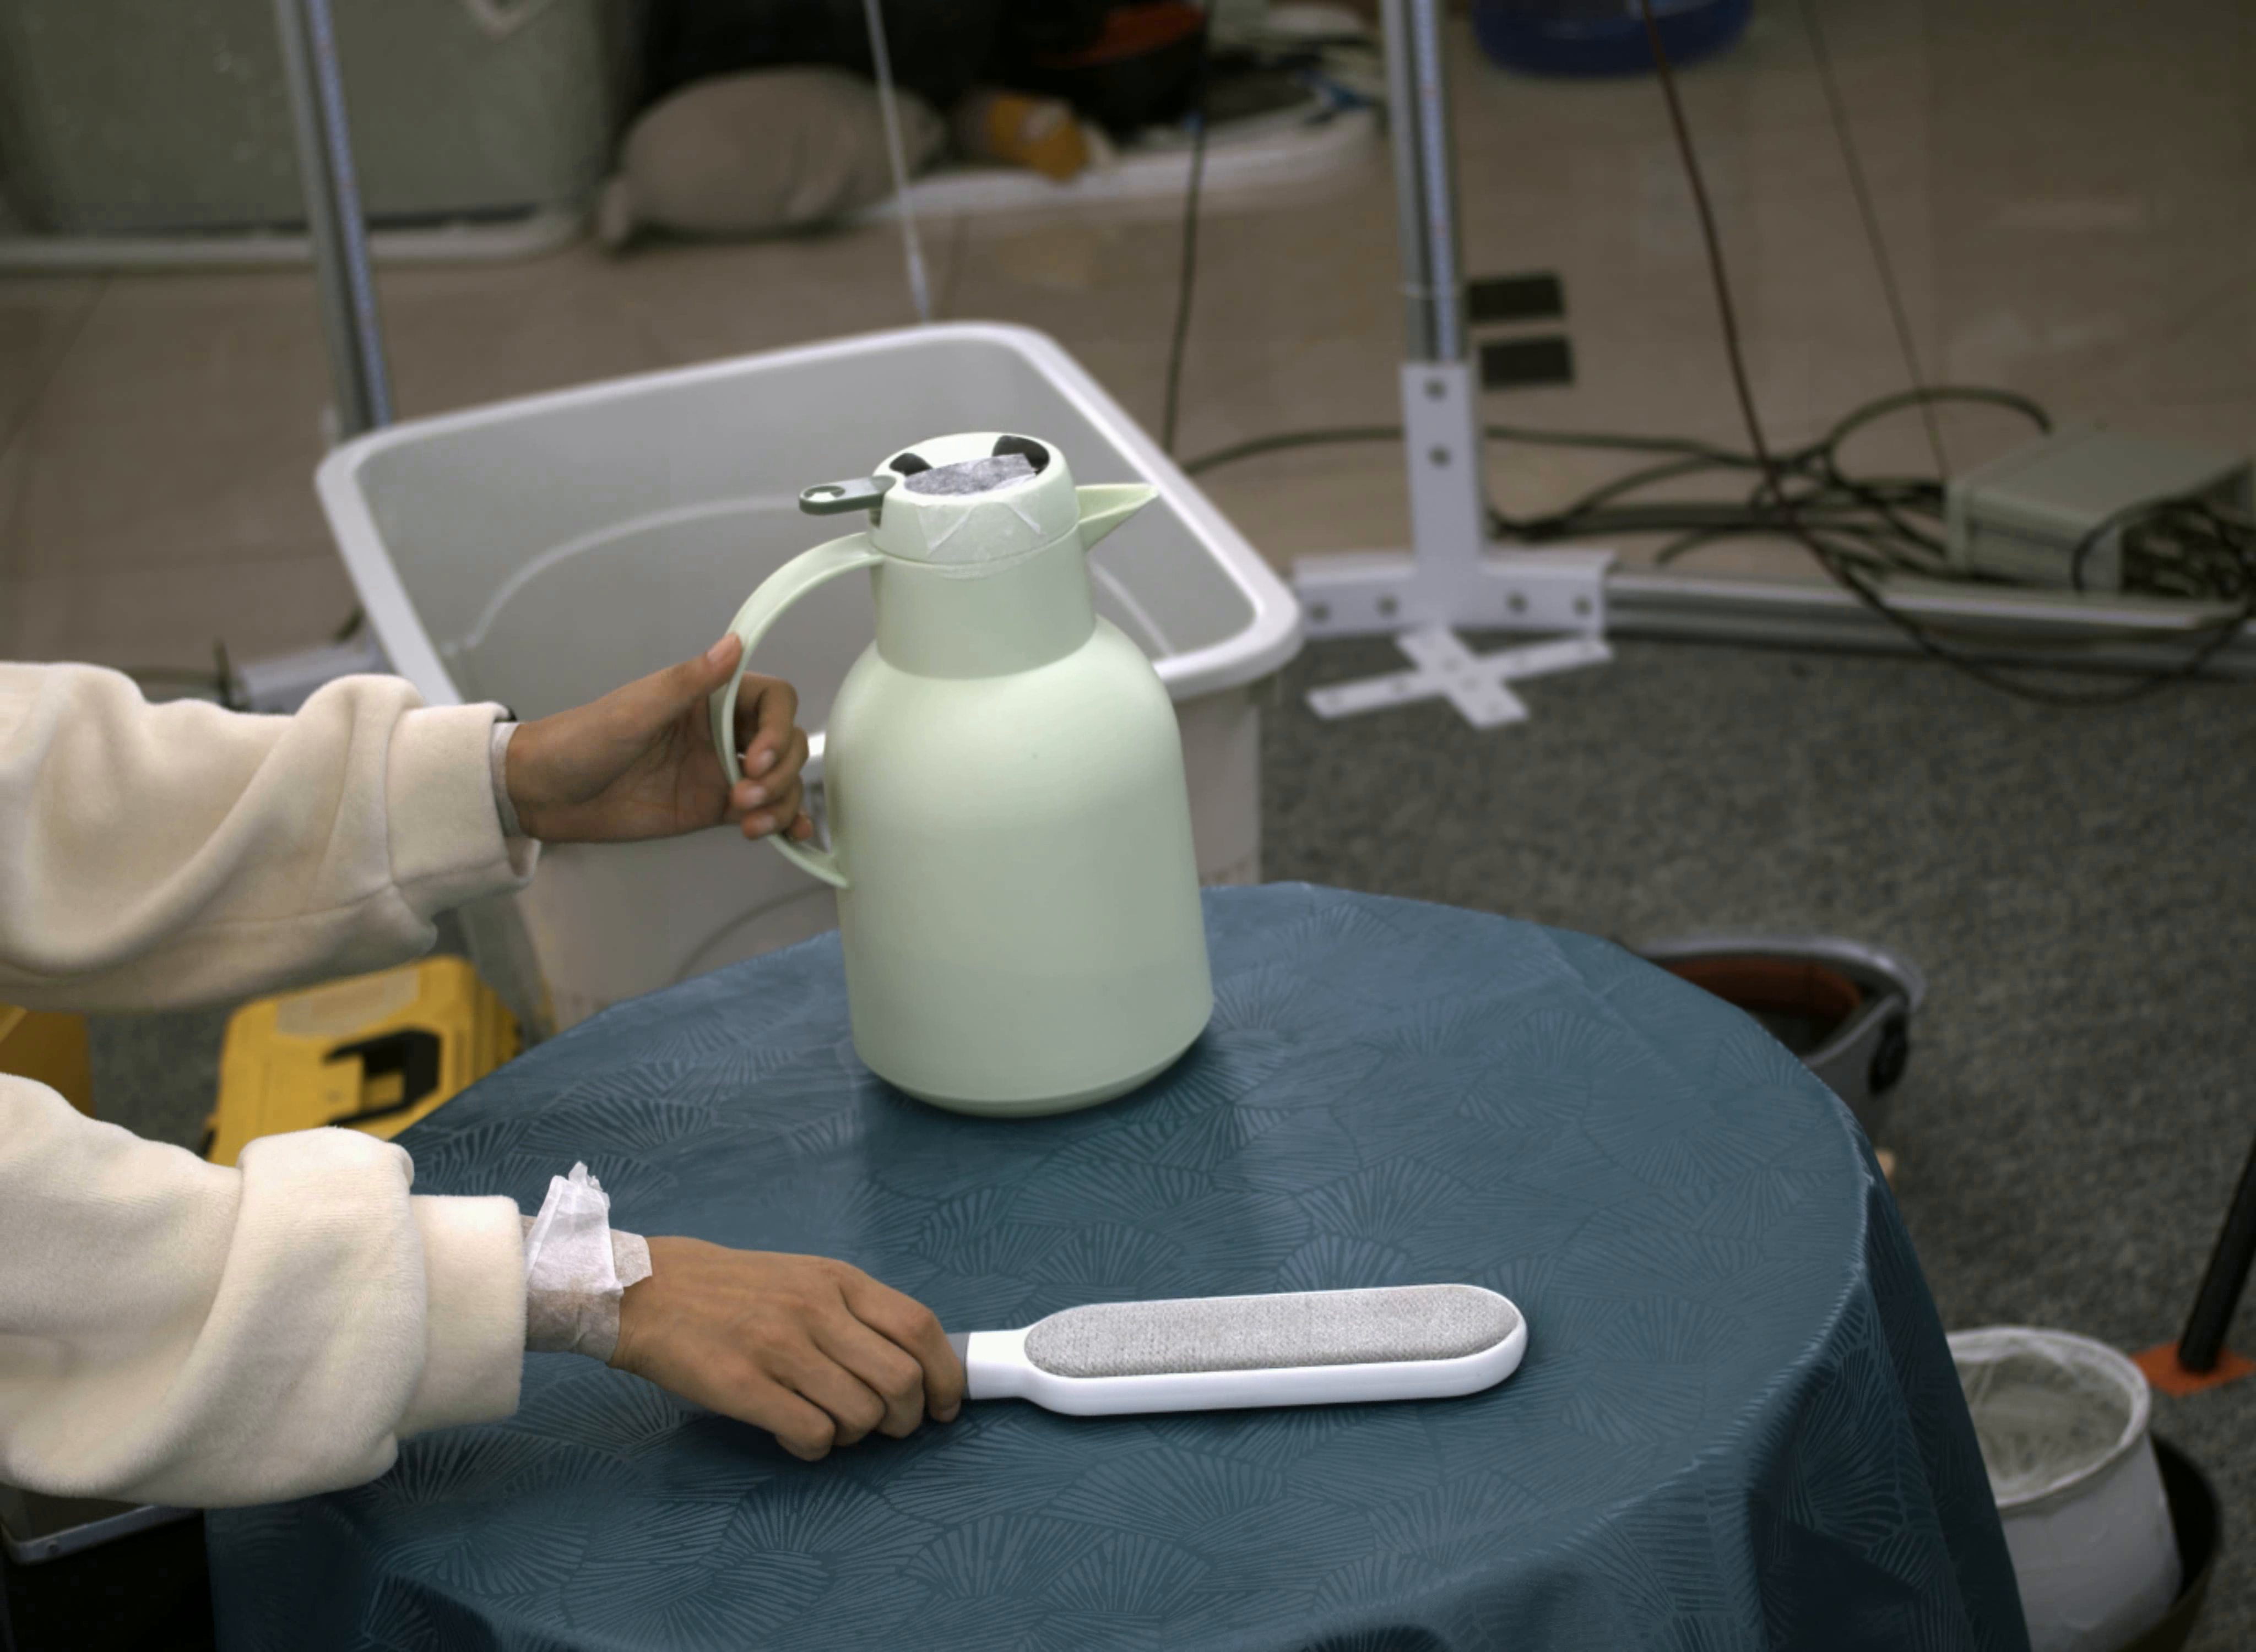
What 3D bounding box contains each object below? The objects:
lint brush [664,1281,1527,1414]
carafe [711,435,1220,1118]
[{"bbox_3d":[-0.013,0.188,2.016,0.308,0.021,0.059,-4,27,6],"label":"lint brush"},{"bbox_3d":[-0.062,-0.021,2.207,0.186,0.261,0.142,-15,28,-10],"label":"carafe"}]
